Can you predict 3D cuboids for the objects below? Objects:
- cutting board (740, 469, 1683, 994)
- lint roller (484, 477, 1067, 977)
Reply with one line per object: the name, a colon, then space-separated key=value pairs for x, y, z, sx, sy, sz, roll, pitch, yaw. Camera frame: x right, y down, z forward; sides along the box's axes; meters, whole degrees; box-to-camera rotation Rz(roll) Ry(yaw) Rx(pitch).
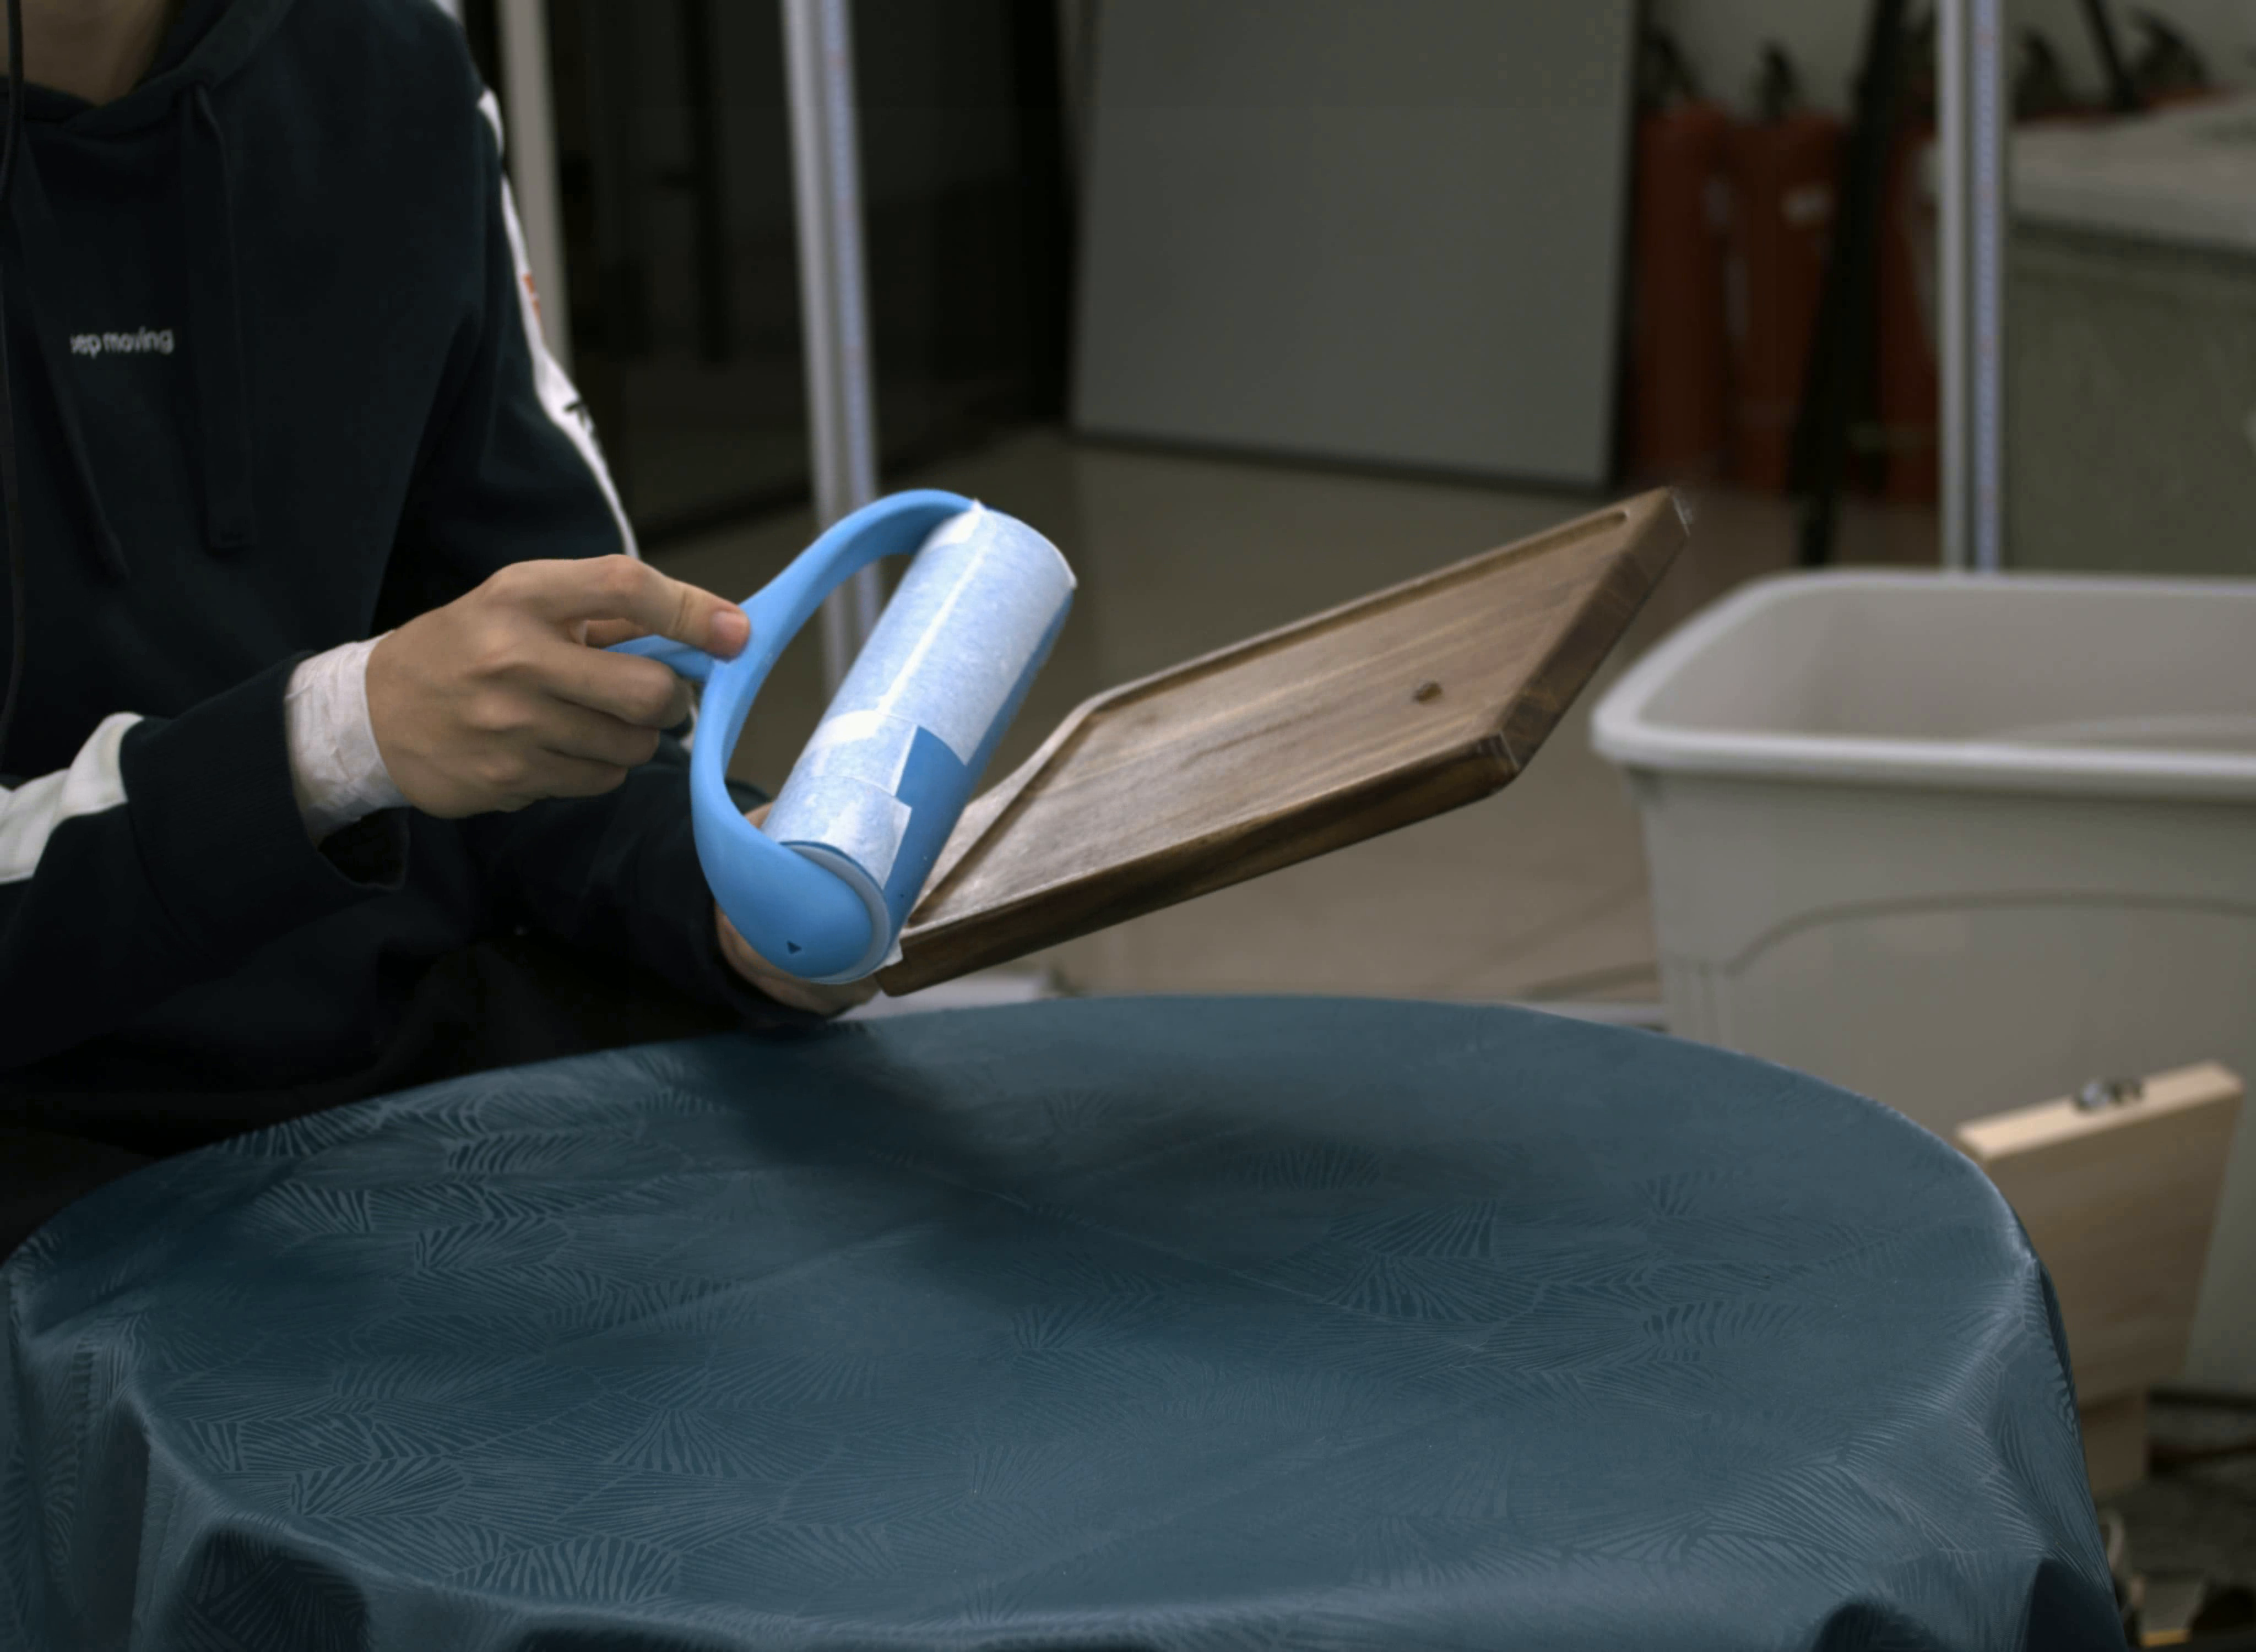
cutting board: x=0.010 y=-0.016 z=1.792 sx=0.354 sy=0.023 sz=0.199 roll=-21 pitch=16 yaw=32
lint roller: x=-0.127 y=-0.035 z=1.729 sx=0.179 sy=0.068 sz=0.229 roll=3 pitch=37 yaw=14
